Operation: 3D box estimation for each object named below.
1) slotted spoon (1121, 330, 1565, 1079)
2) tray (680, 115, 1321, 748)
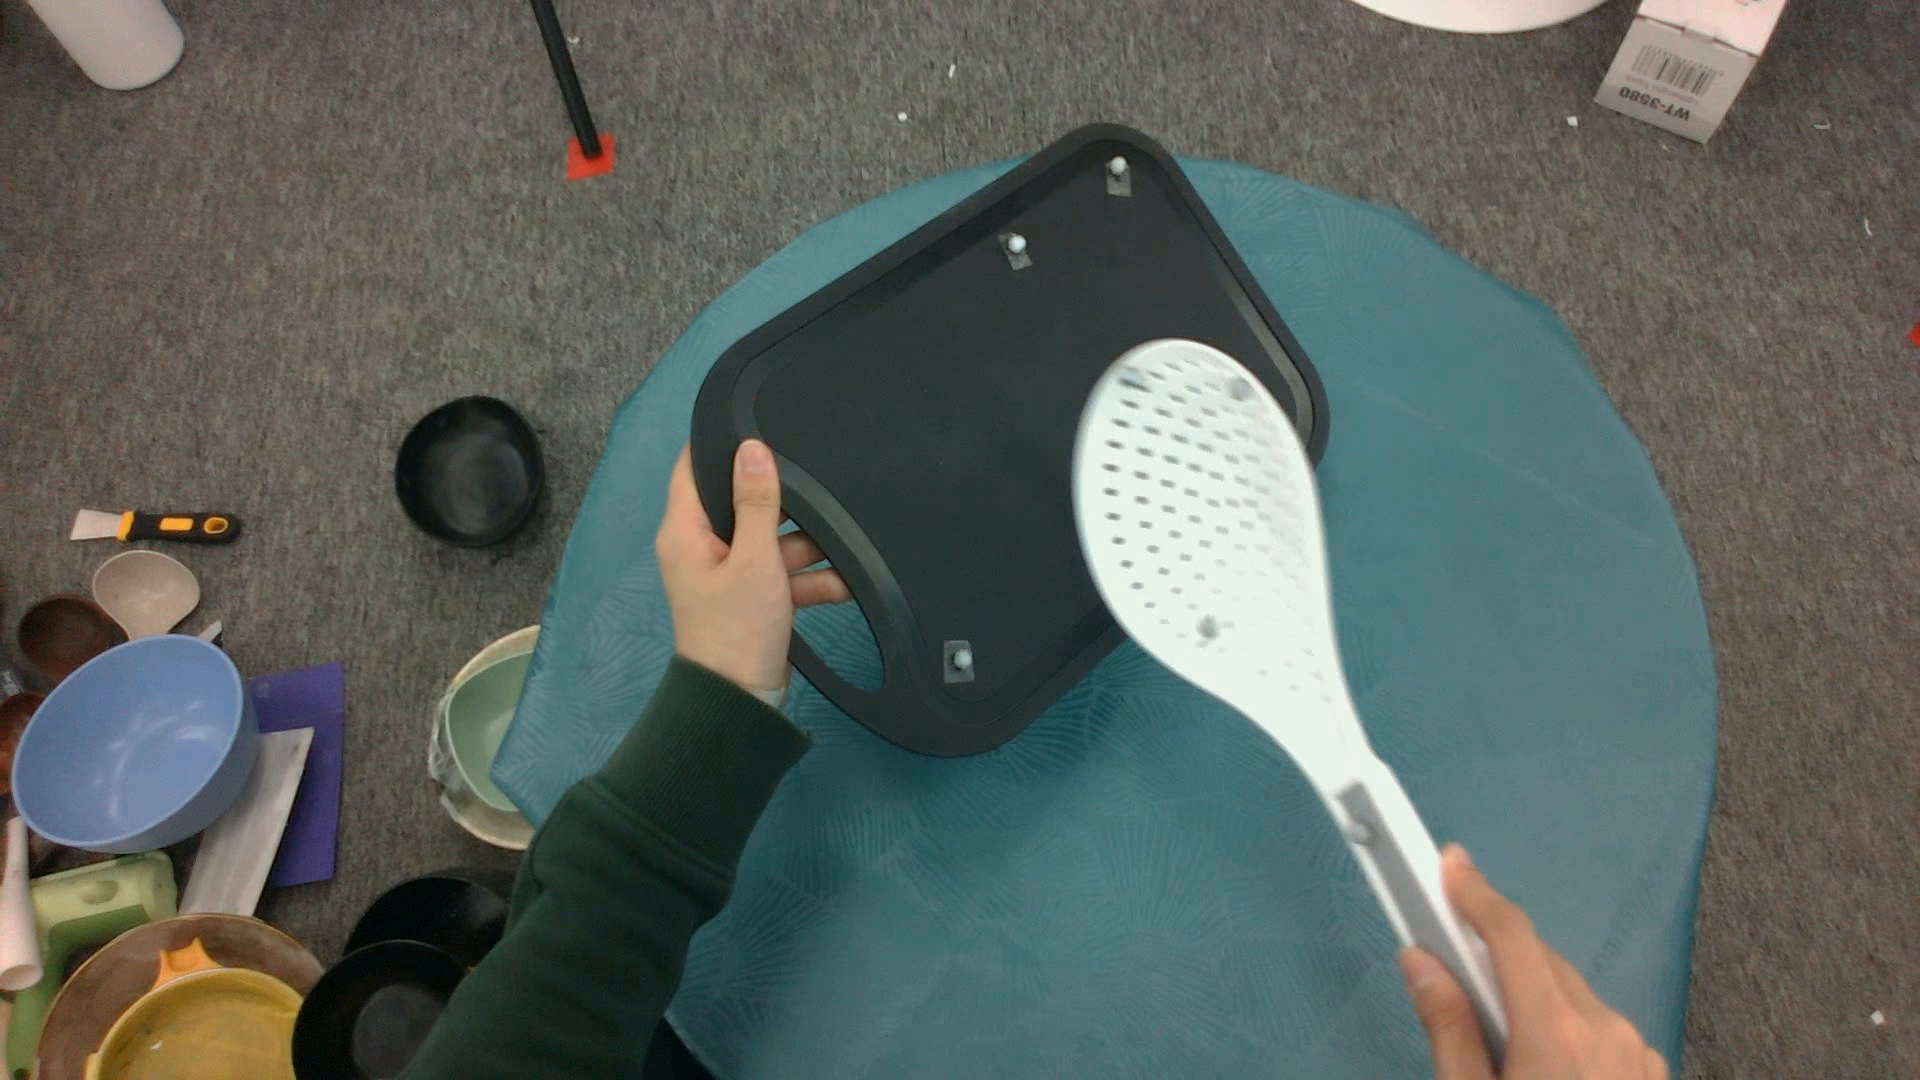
[{"bbox_3d":[0.149,0.073,0.523,0.046,0.135,0.351,-1,58,-27],"label":"slotted spoon"},{"bbox_3d":[0.031,-0.057,0.636,0.327,0.010,0.211,-37,96,-27],"label":"tray"}]
